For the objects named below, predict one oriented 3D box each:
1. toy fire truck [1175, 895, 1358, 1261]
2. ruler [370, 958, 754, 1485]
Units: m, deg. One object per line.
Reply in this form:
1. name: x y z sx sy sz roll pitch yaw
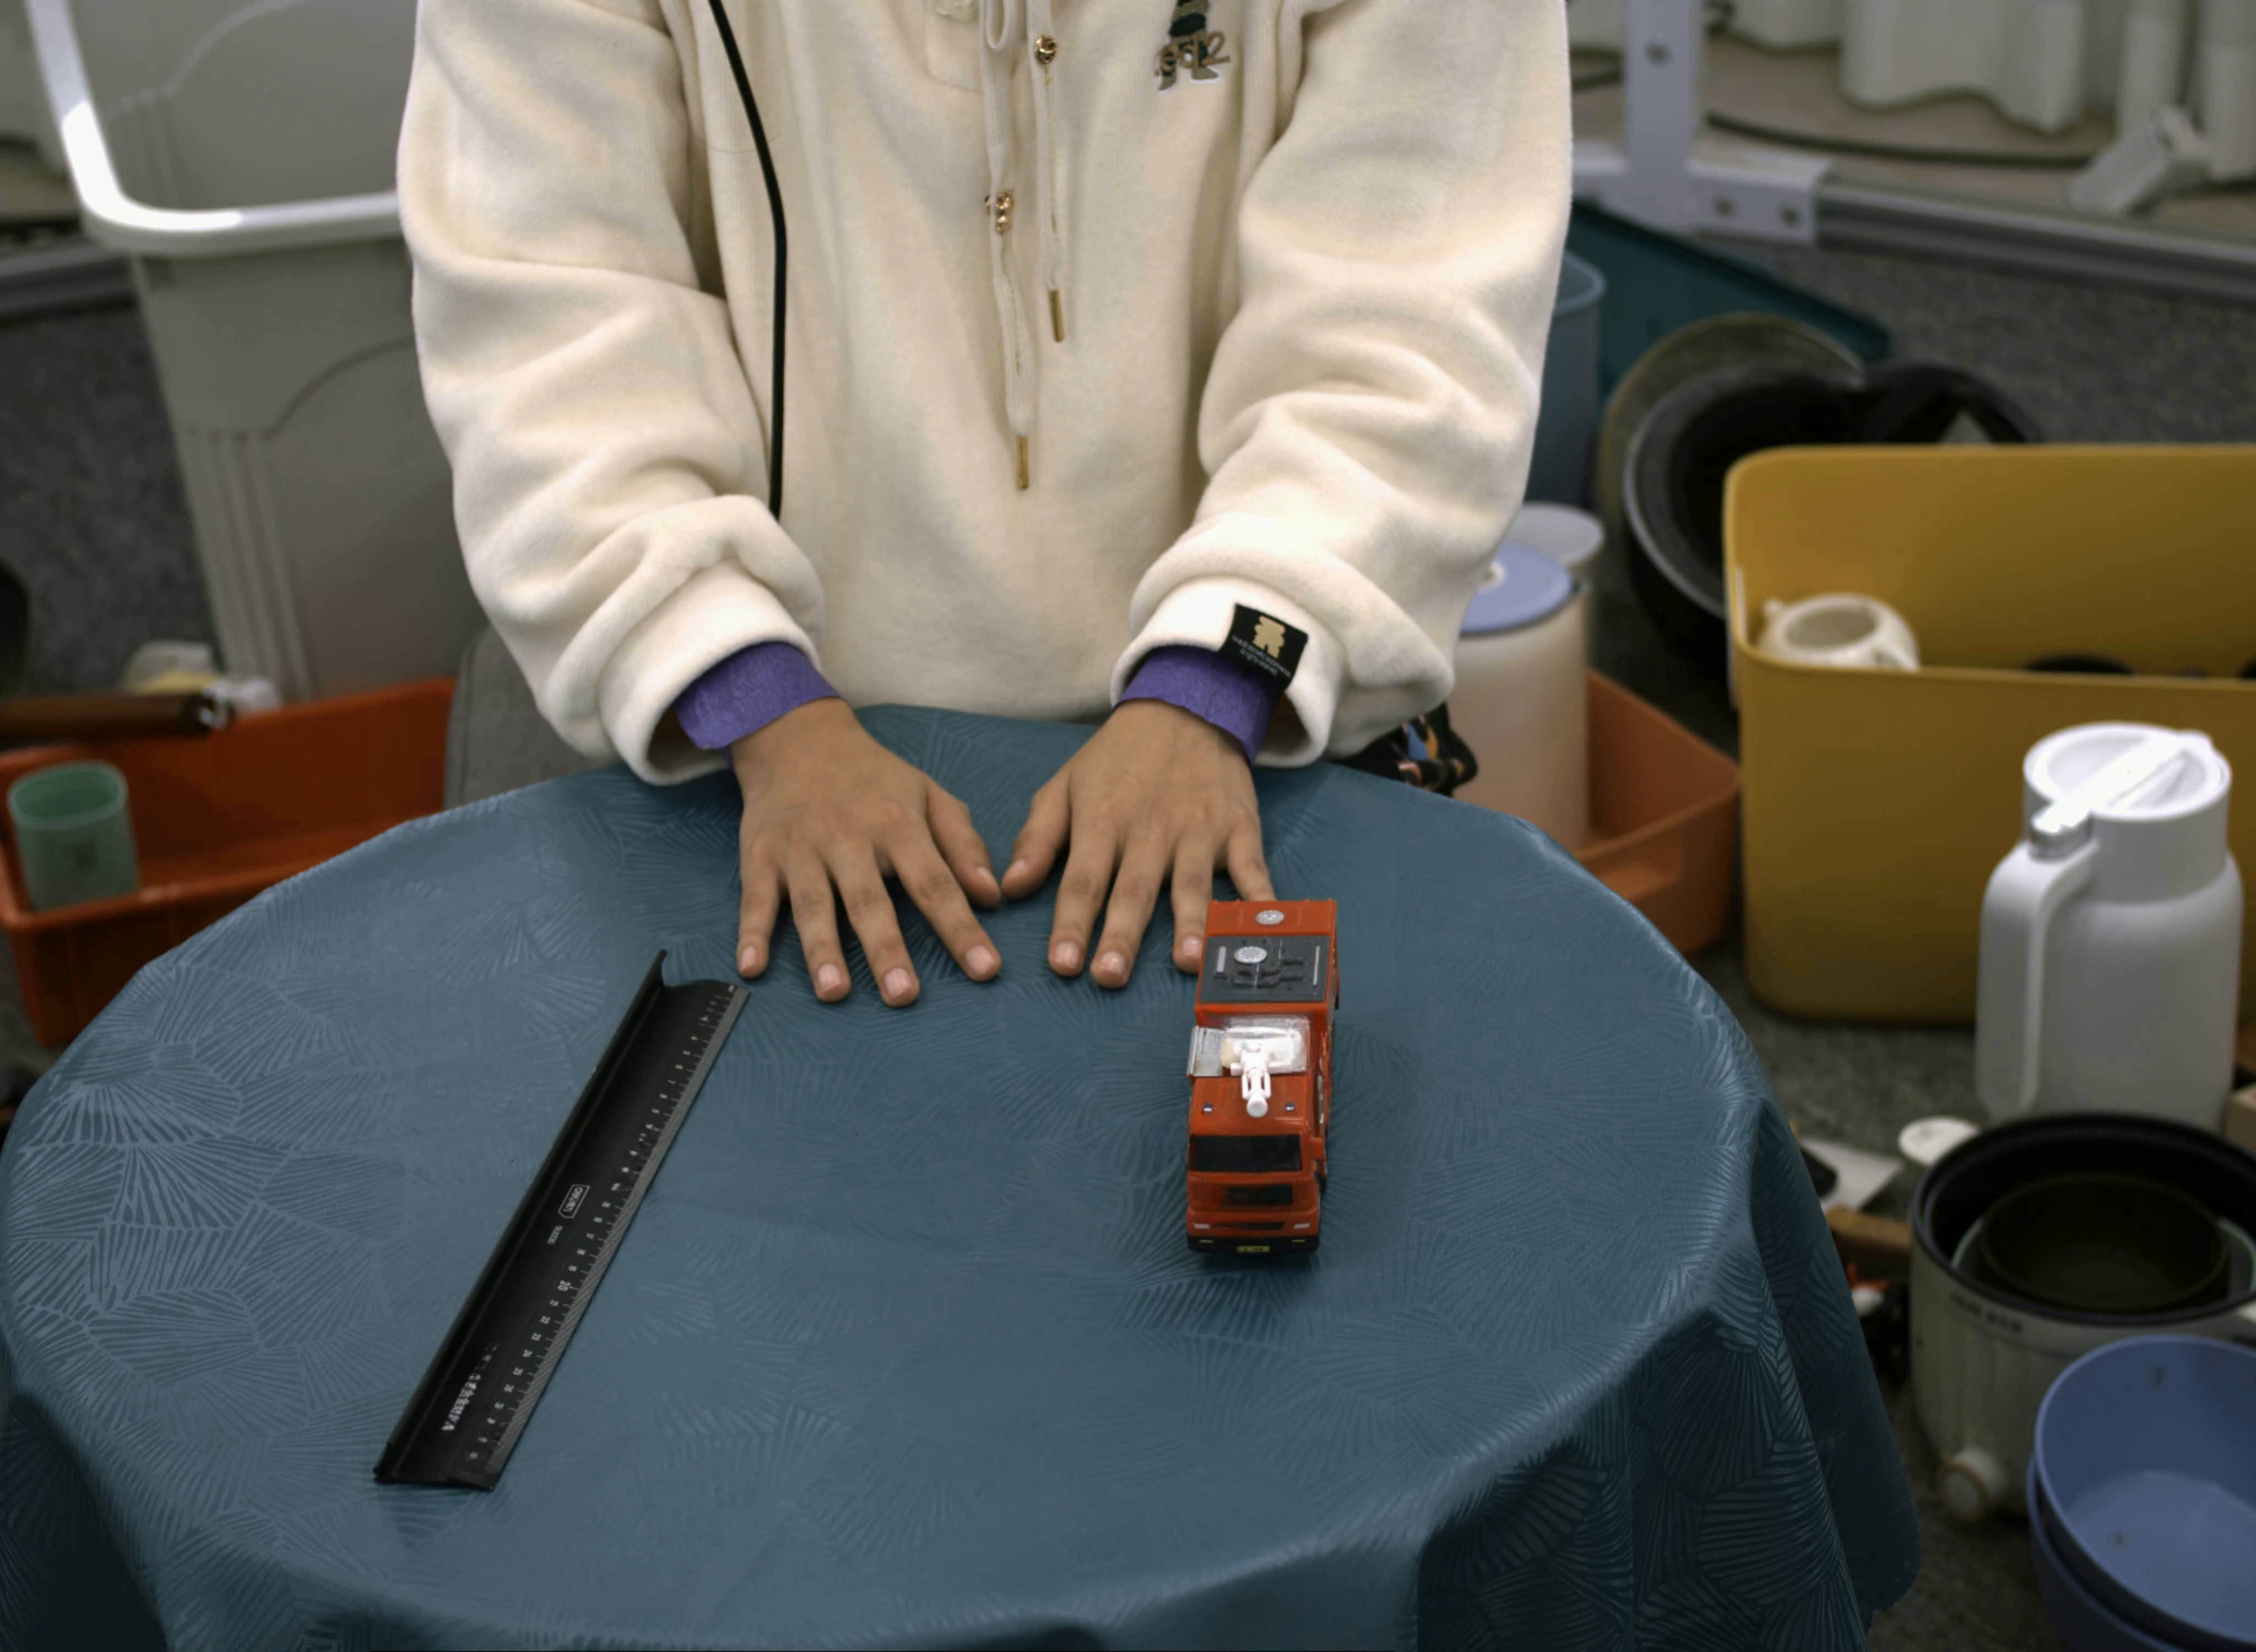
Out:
1. toy fire truck: 0.047 0.082 1.870 0.053 0.069 0.170 -1 26 6
2. ruler: -0.183 0.125 1.856 0.039 0.017 0.318 6 28 11
